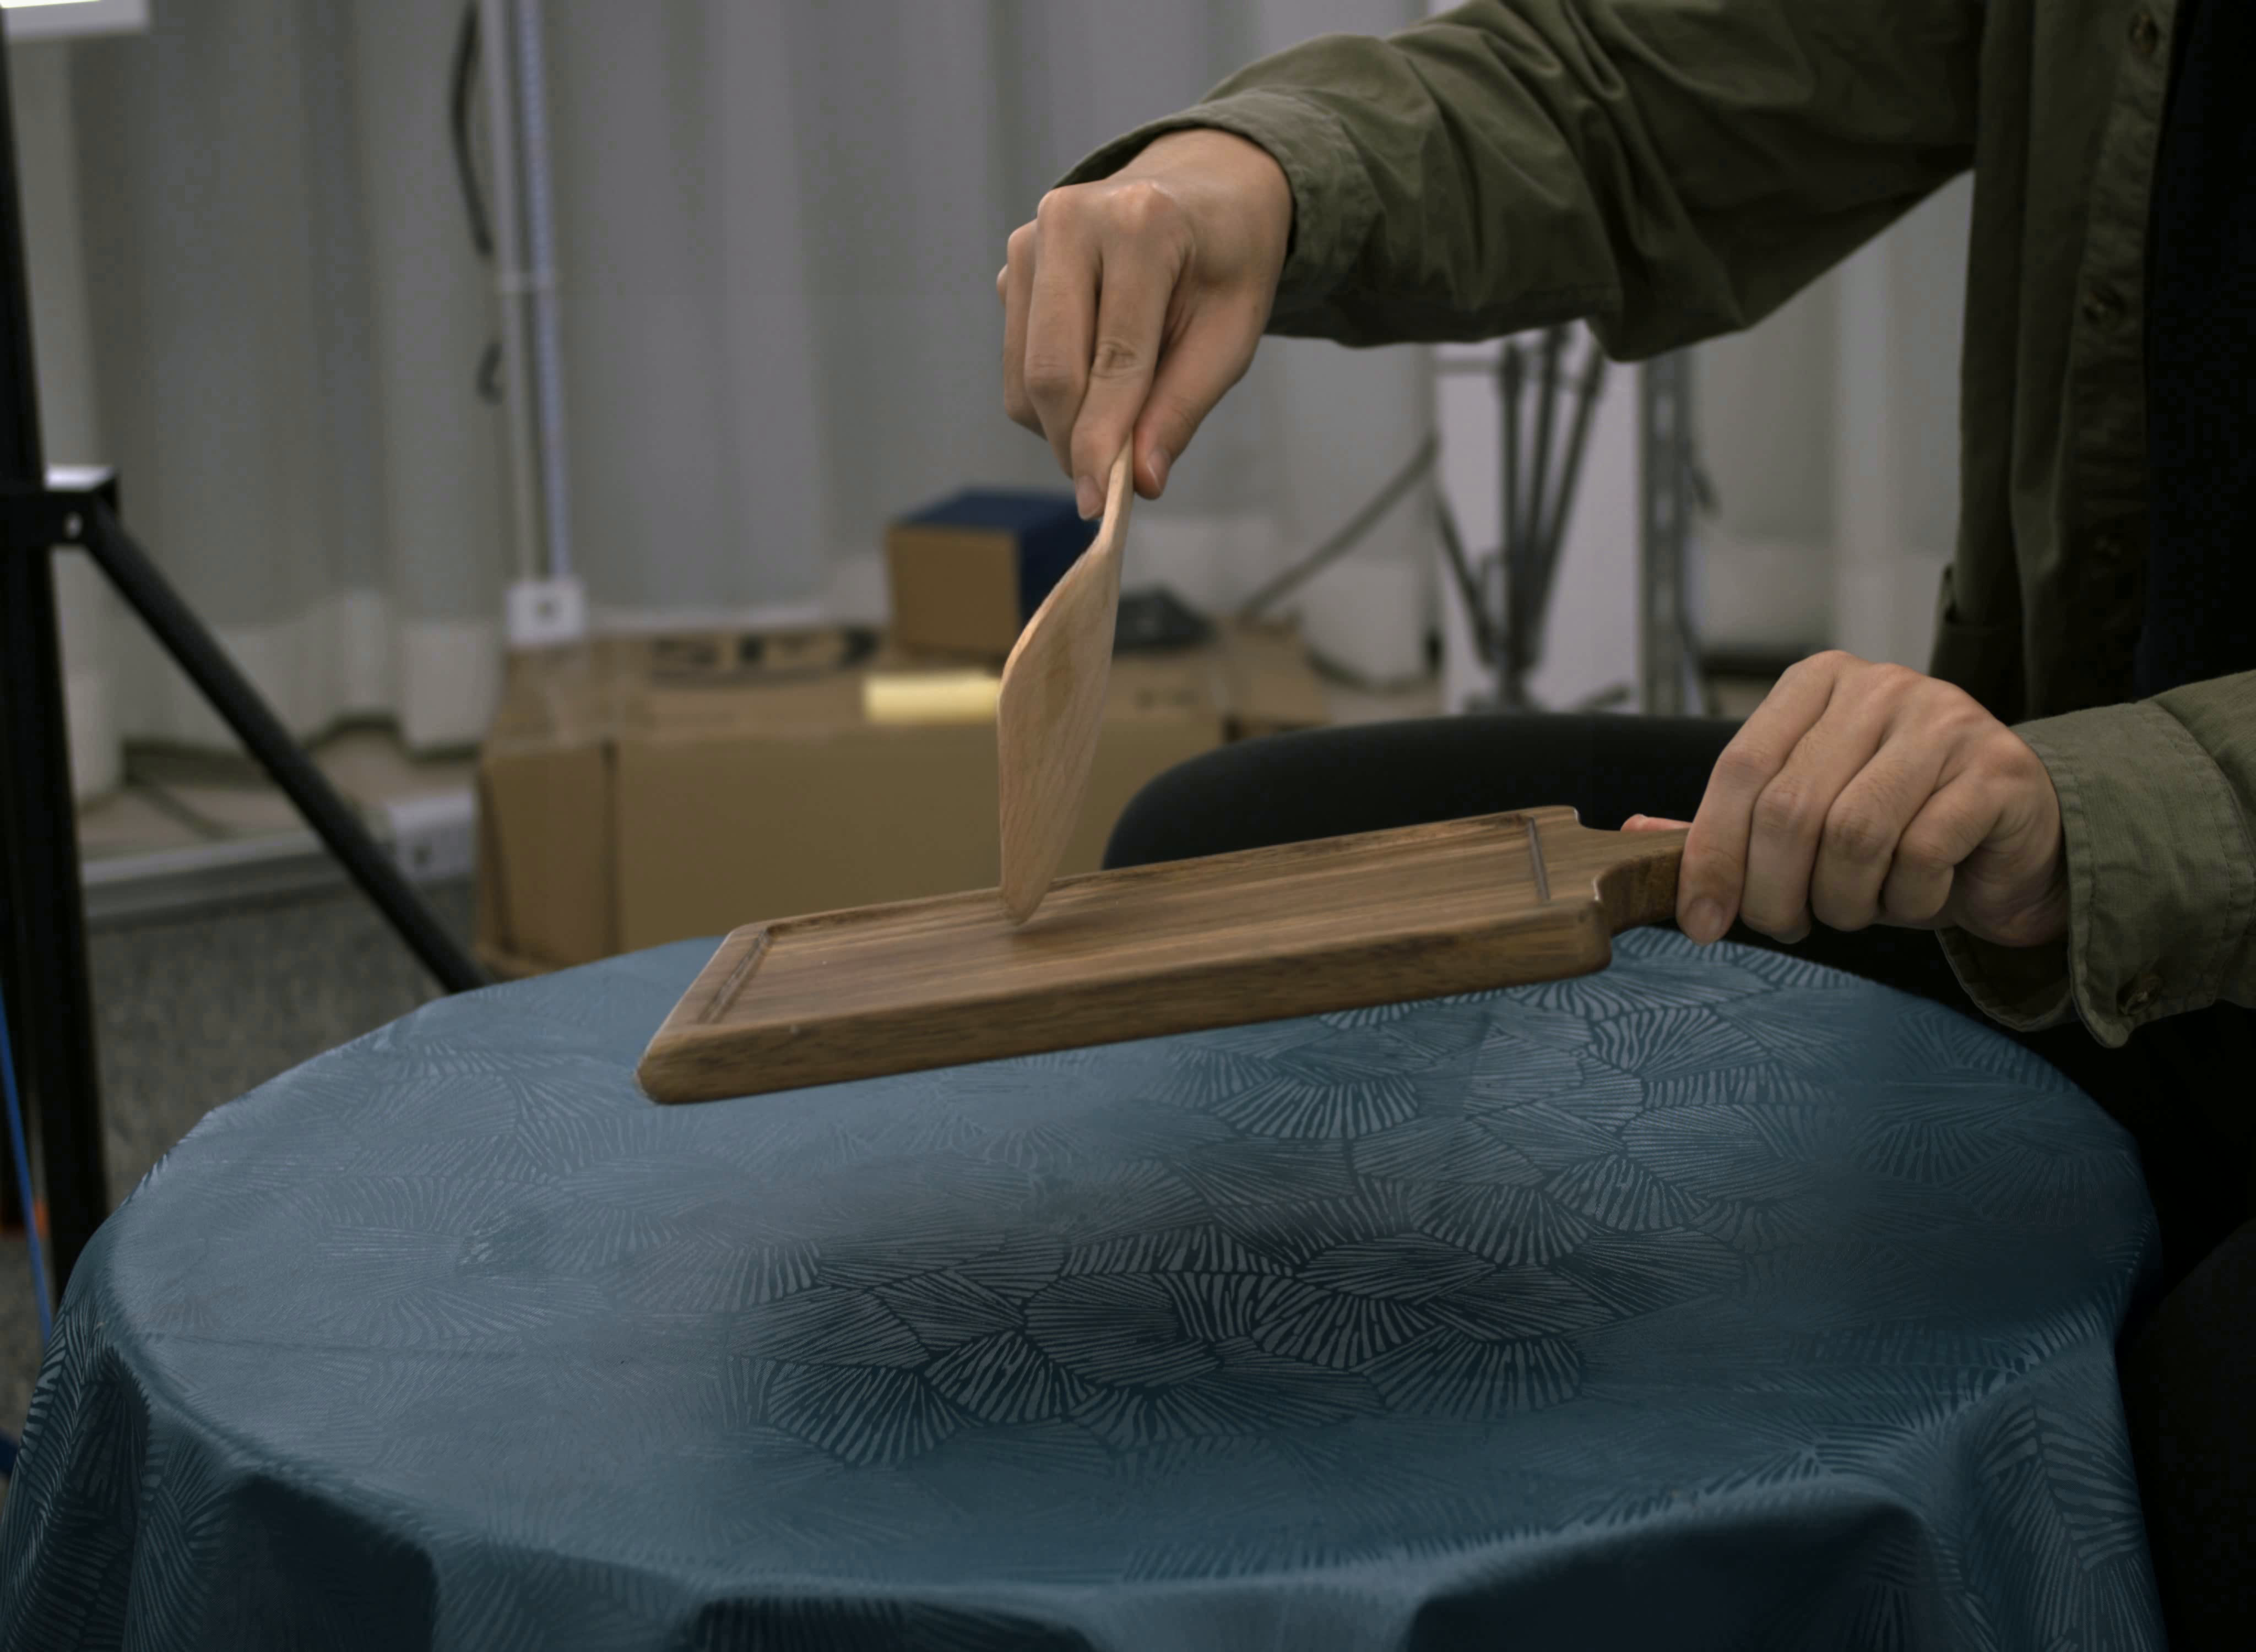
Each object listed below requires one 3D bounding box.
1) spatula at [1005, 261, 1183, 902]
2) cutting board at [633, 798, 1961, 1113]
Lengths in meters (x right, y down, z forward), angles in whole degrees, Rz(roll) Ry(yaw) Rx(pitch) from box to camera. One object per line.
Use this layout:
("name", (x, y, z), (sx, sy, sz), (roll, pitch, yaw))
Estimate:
("spatula", (-0.008, -0.093, 1.603), (0.016, 0.079, 0.328), (0, 31, 8))
("cutting board", (0.049, 0.028, 1.435), (0.352, 0.023, 0.200), (-8, 8, 6))
